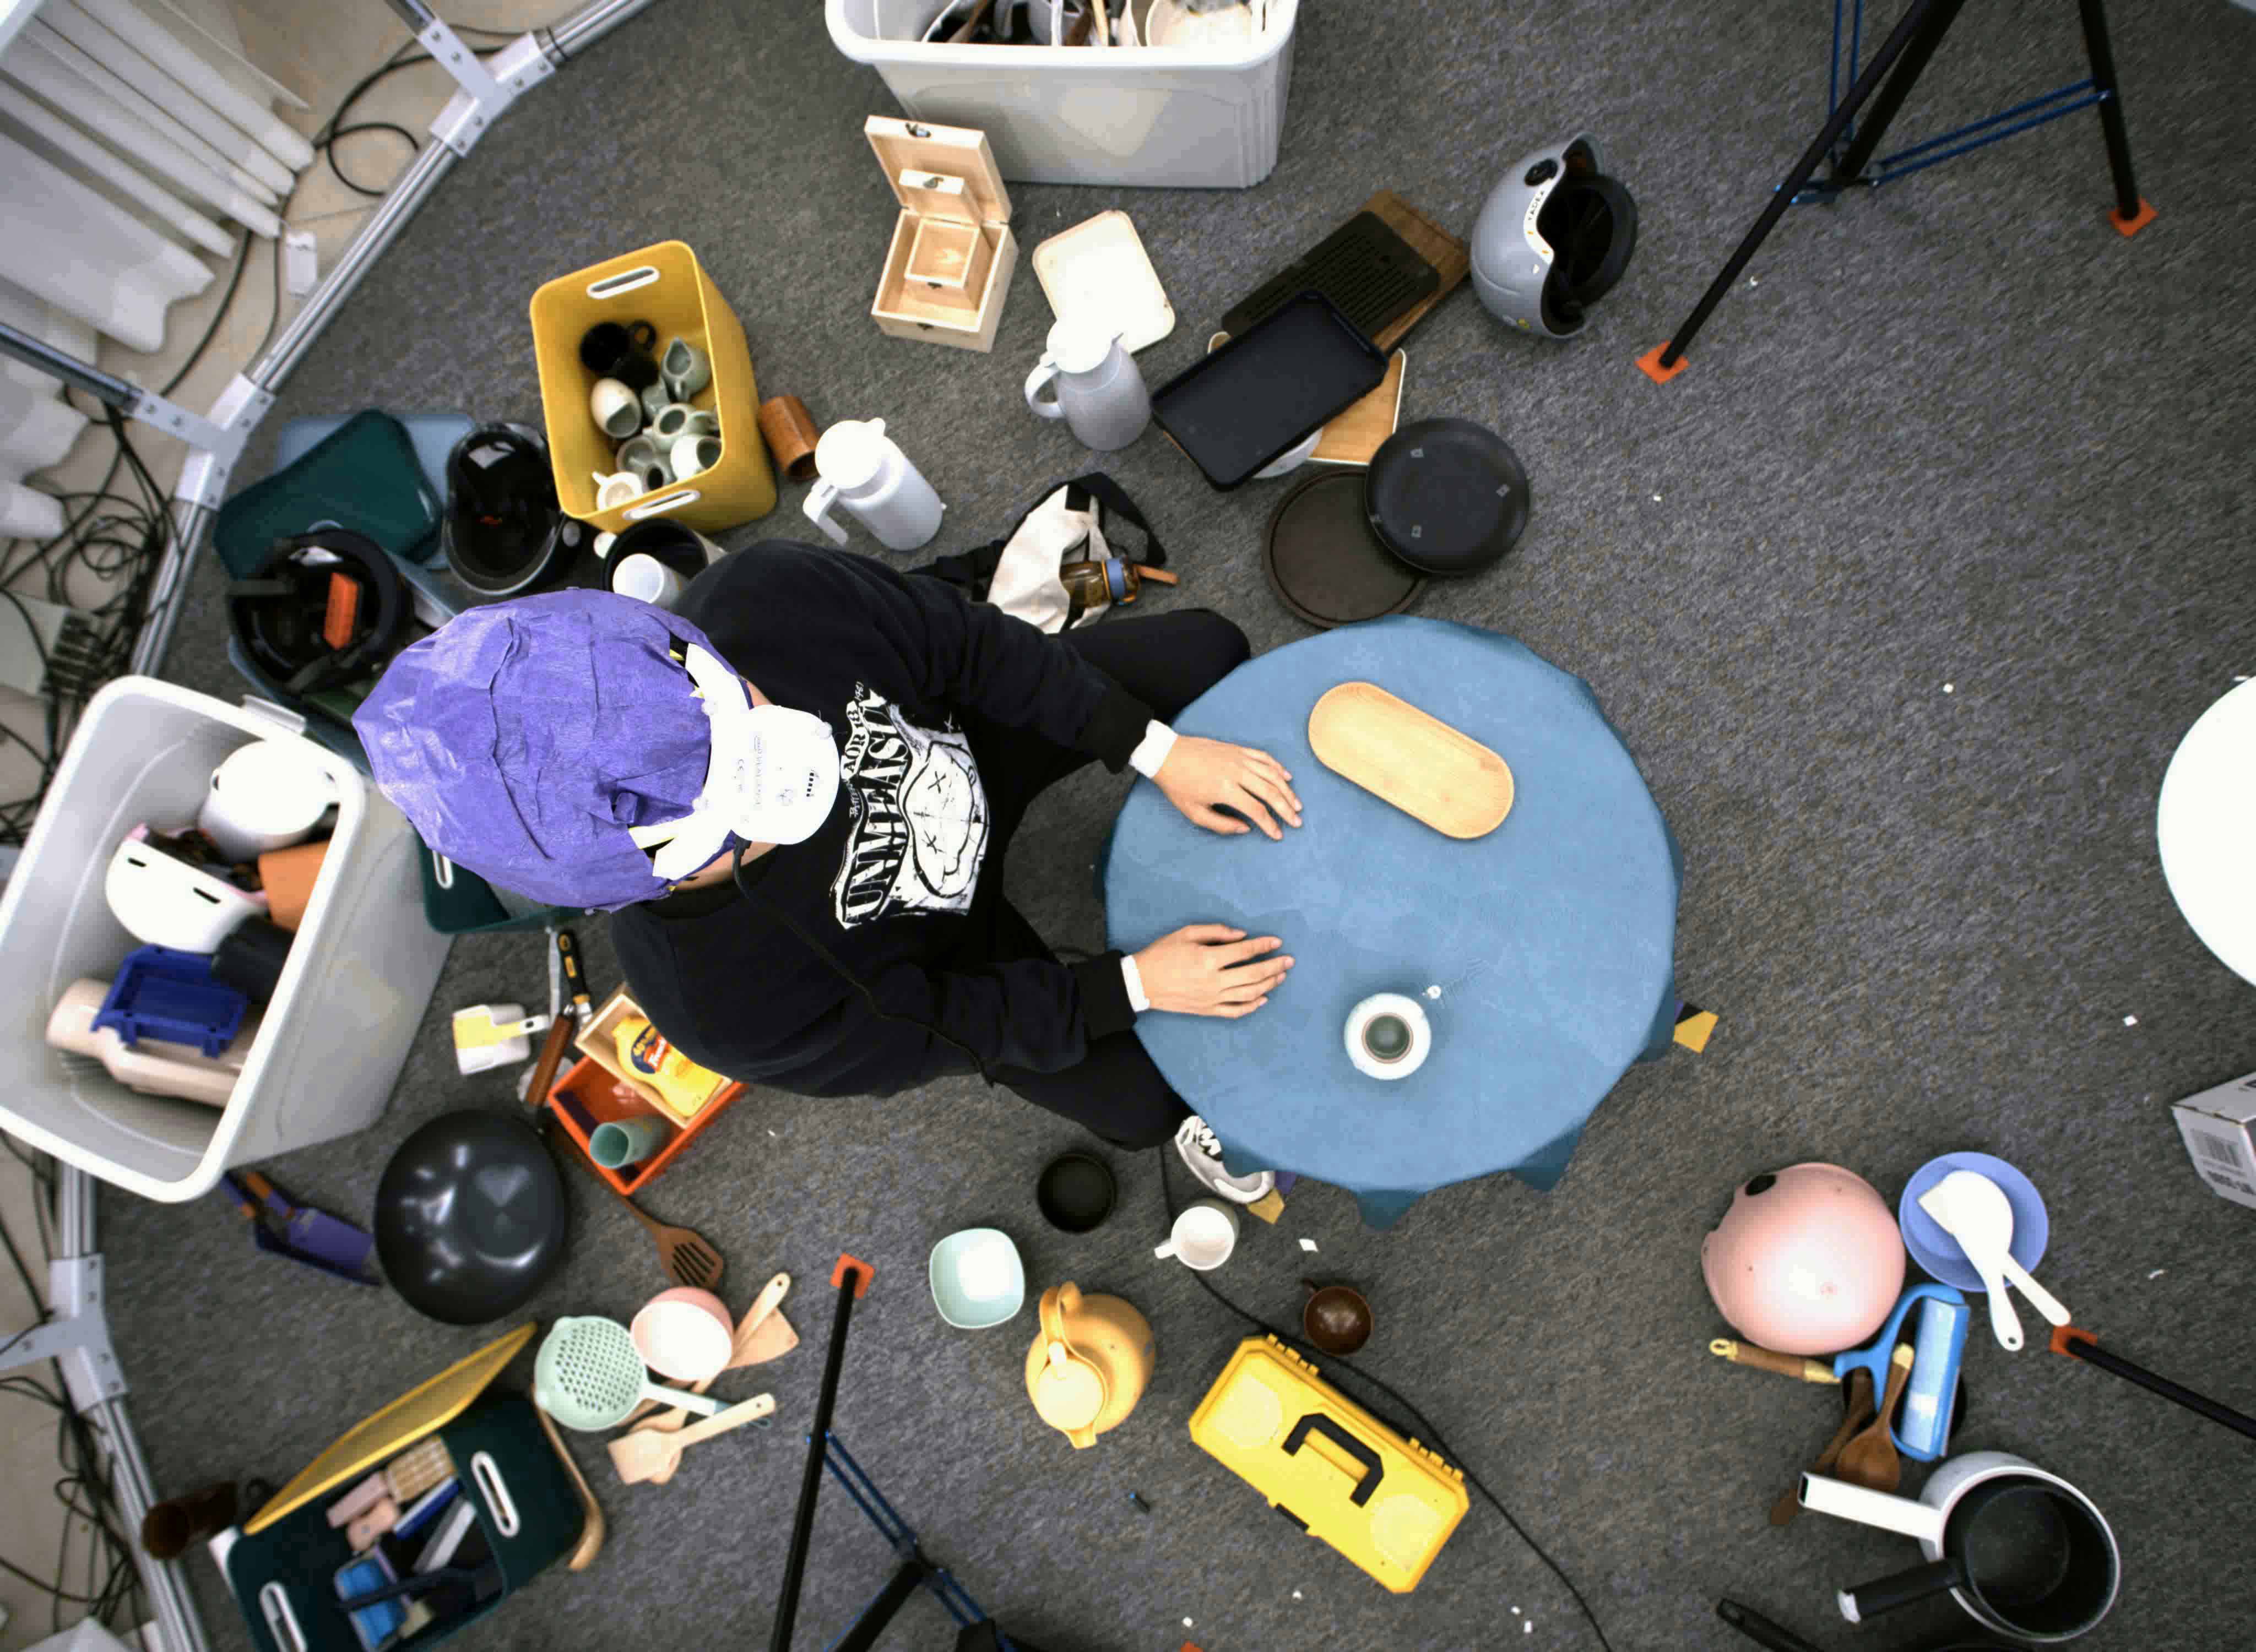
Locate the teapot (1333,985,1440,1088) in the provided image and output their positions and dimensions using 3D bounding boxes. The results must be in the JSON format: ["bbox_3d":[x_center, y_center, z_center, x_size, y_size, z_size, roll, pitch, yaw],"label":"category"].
[{"bbox_3d":[0.265,0.213,1.419,0.144,0.075,0.088,-43,80,4],"label":"teapot"}]

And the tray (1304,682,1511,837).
[{"bbox_3d":[0.295,-0.072,1.456,0.230,0.020,0.102,30,91,13],"label":"tray"}]
